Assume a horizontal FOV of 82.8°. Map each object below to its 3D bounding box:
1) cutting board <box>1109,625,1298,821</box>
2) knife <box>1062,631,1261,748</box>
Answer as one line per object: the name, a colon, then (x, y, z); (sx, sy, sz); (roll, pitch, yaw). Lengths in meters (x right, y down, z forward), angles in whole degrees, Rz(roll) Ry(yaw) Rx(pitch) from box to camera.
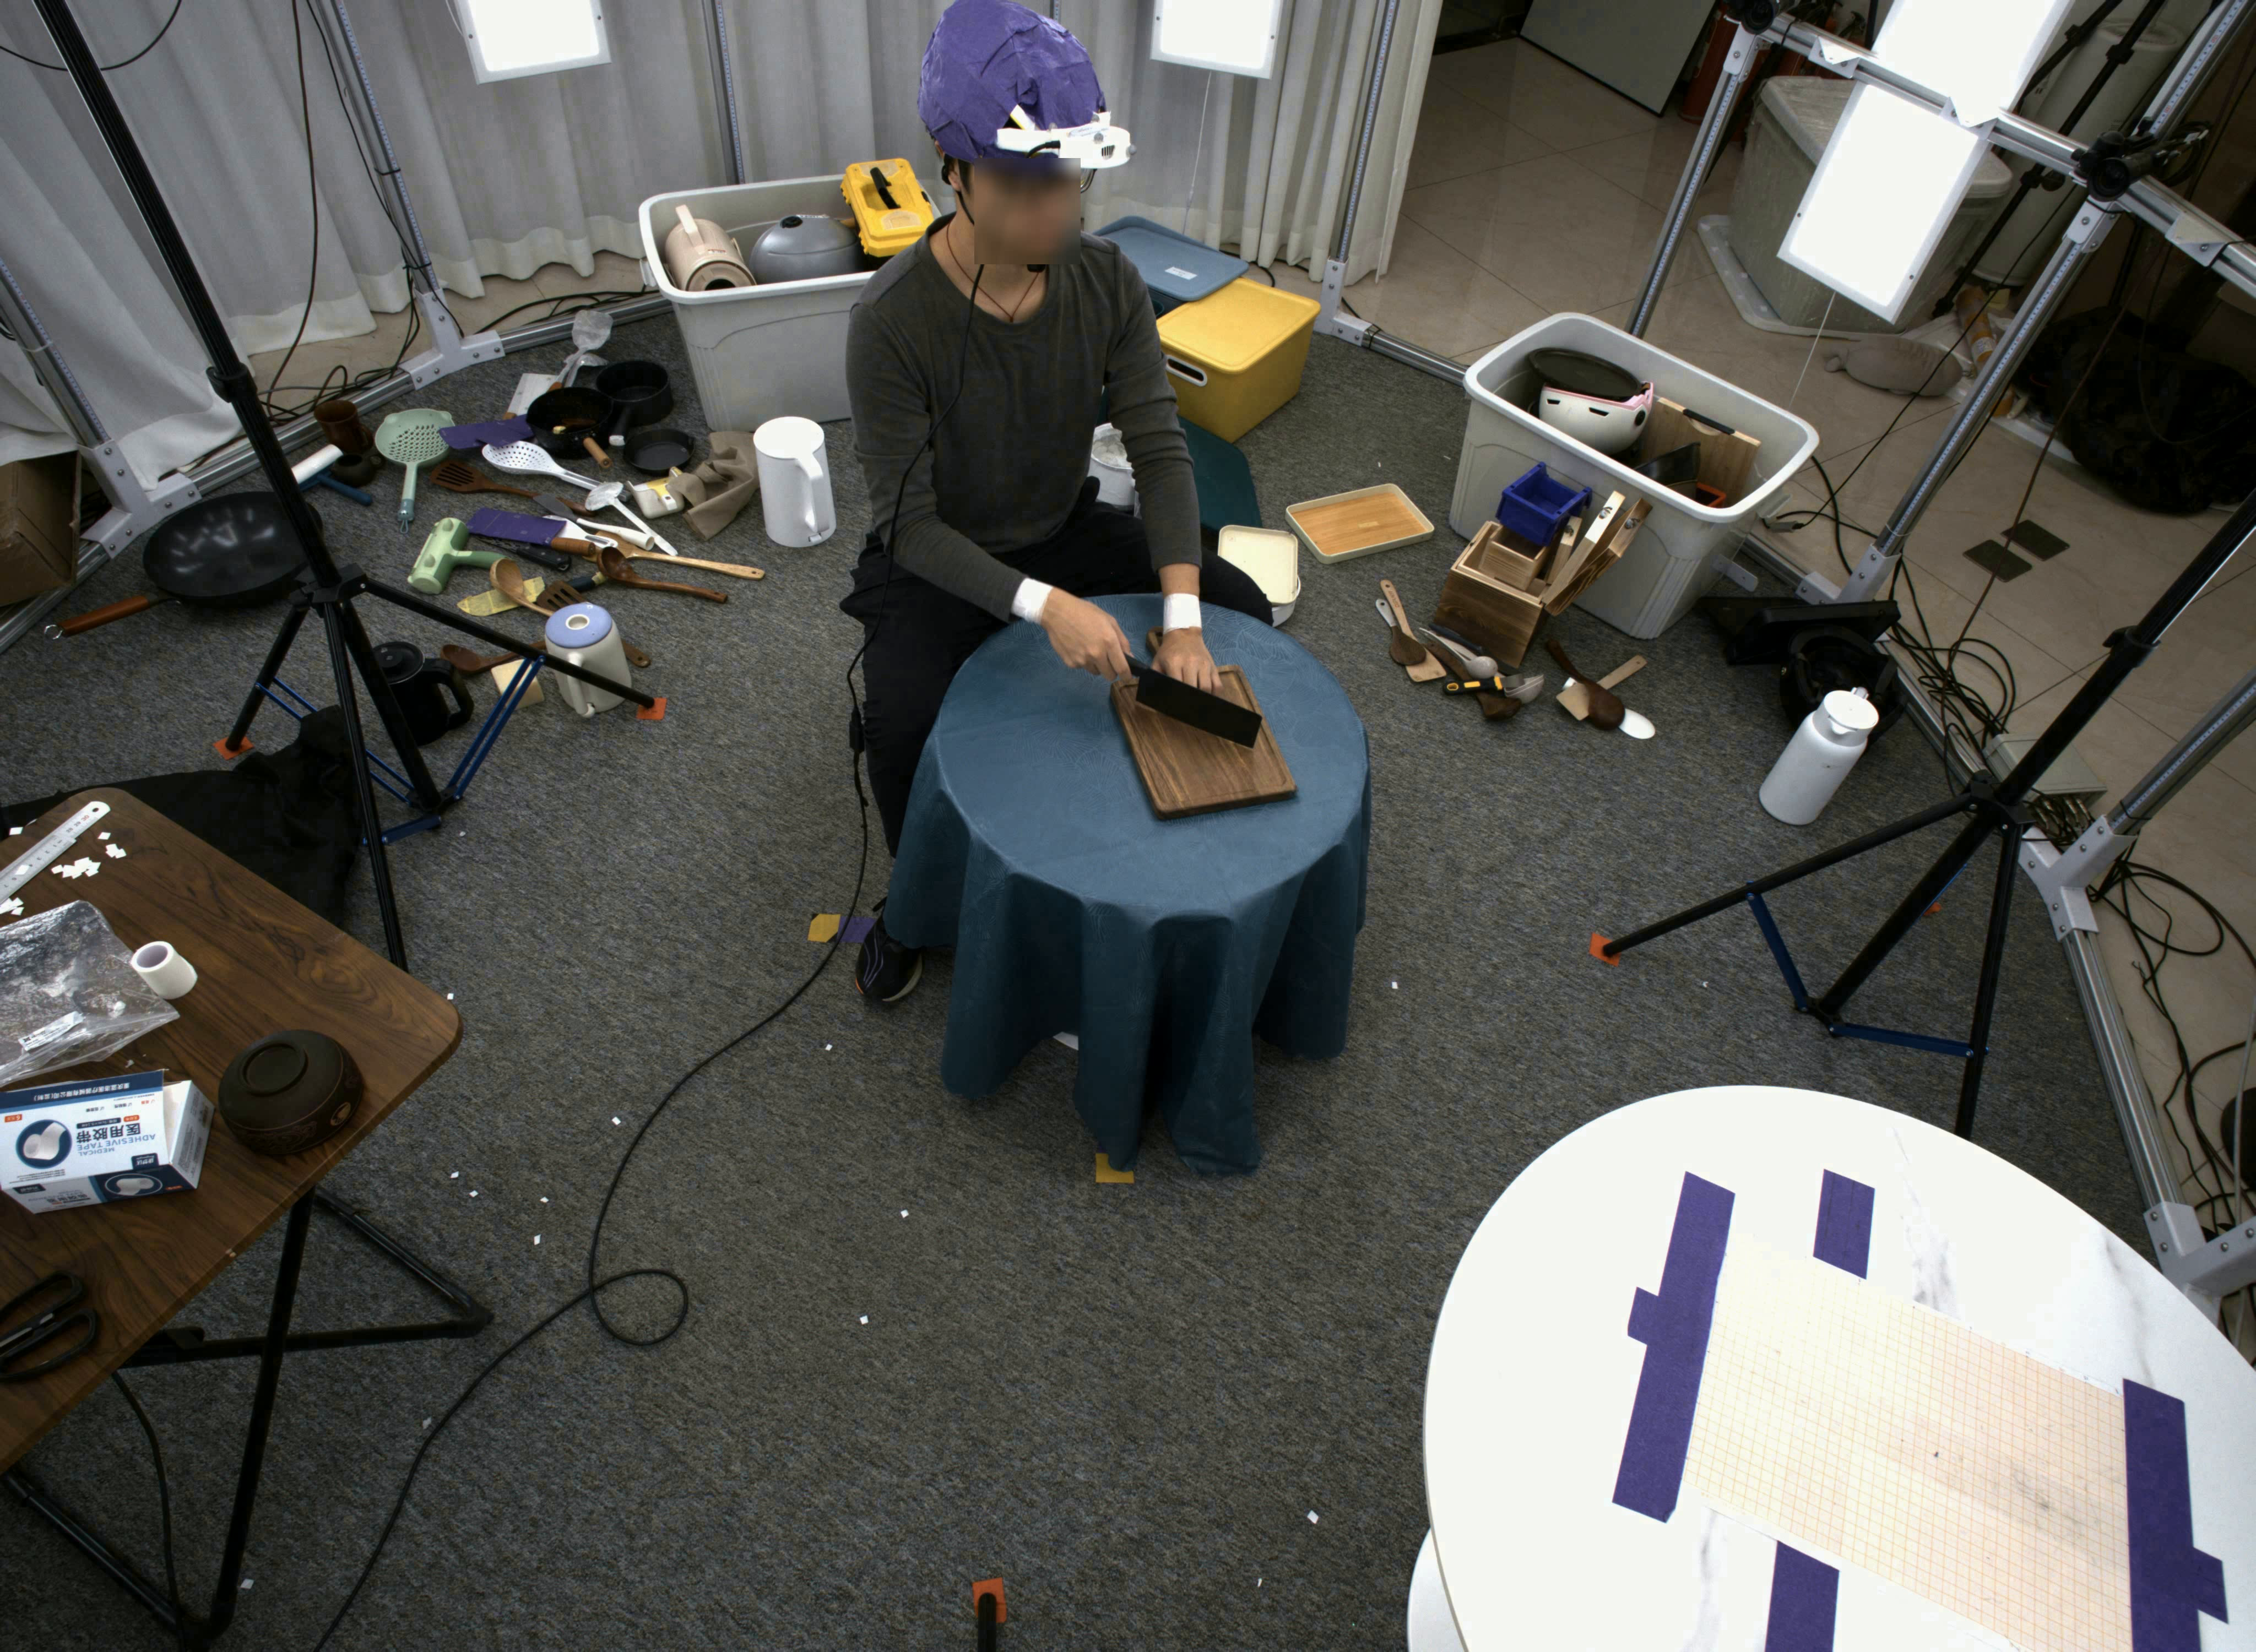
cutting board: (0.088, -0.159, 1.797); (0.201, 0.022, 0.361); (-9, 50, -13)
knife: (0.043, -0.190, 1.760); (0.304, 0.079, 0.021); (28, 46, 10)
